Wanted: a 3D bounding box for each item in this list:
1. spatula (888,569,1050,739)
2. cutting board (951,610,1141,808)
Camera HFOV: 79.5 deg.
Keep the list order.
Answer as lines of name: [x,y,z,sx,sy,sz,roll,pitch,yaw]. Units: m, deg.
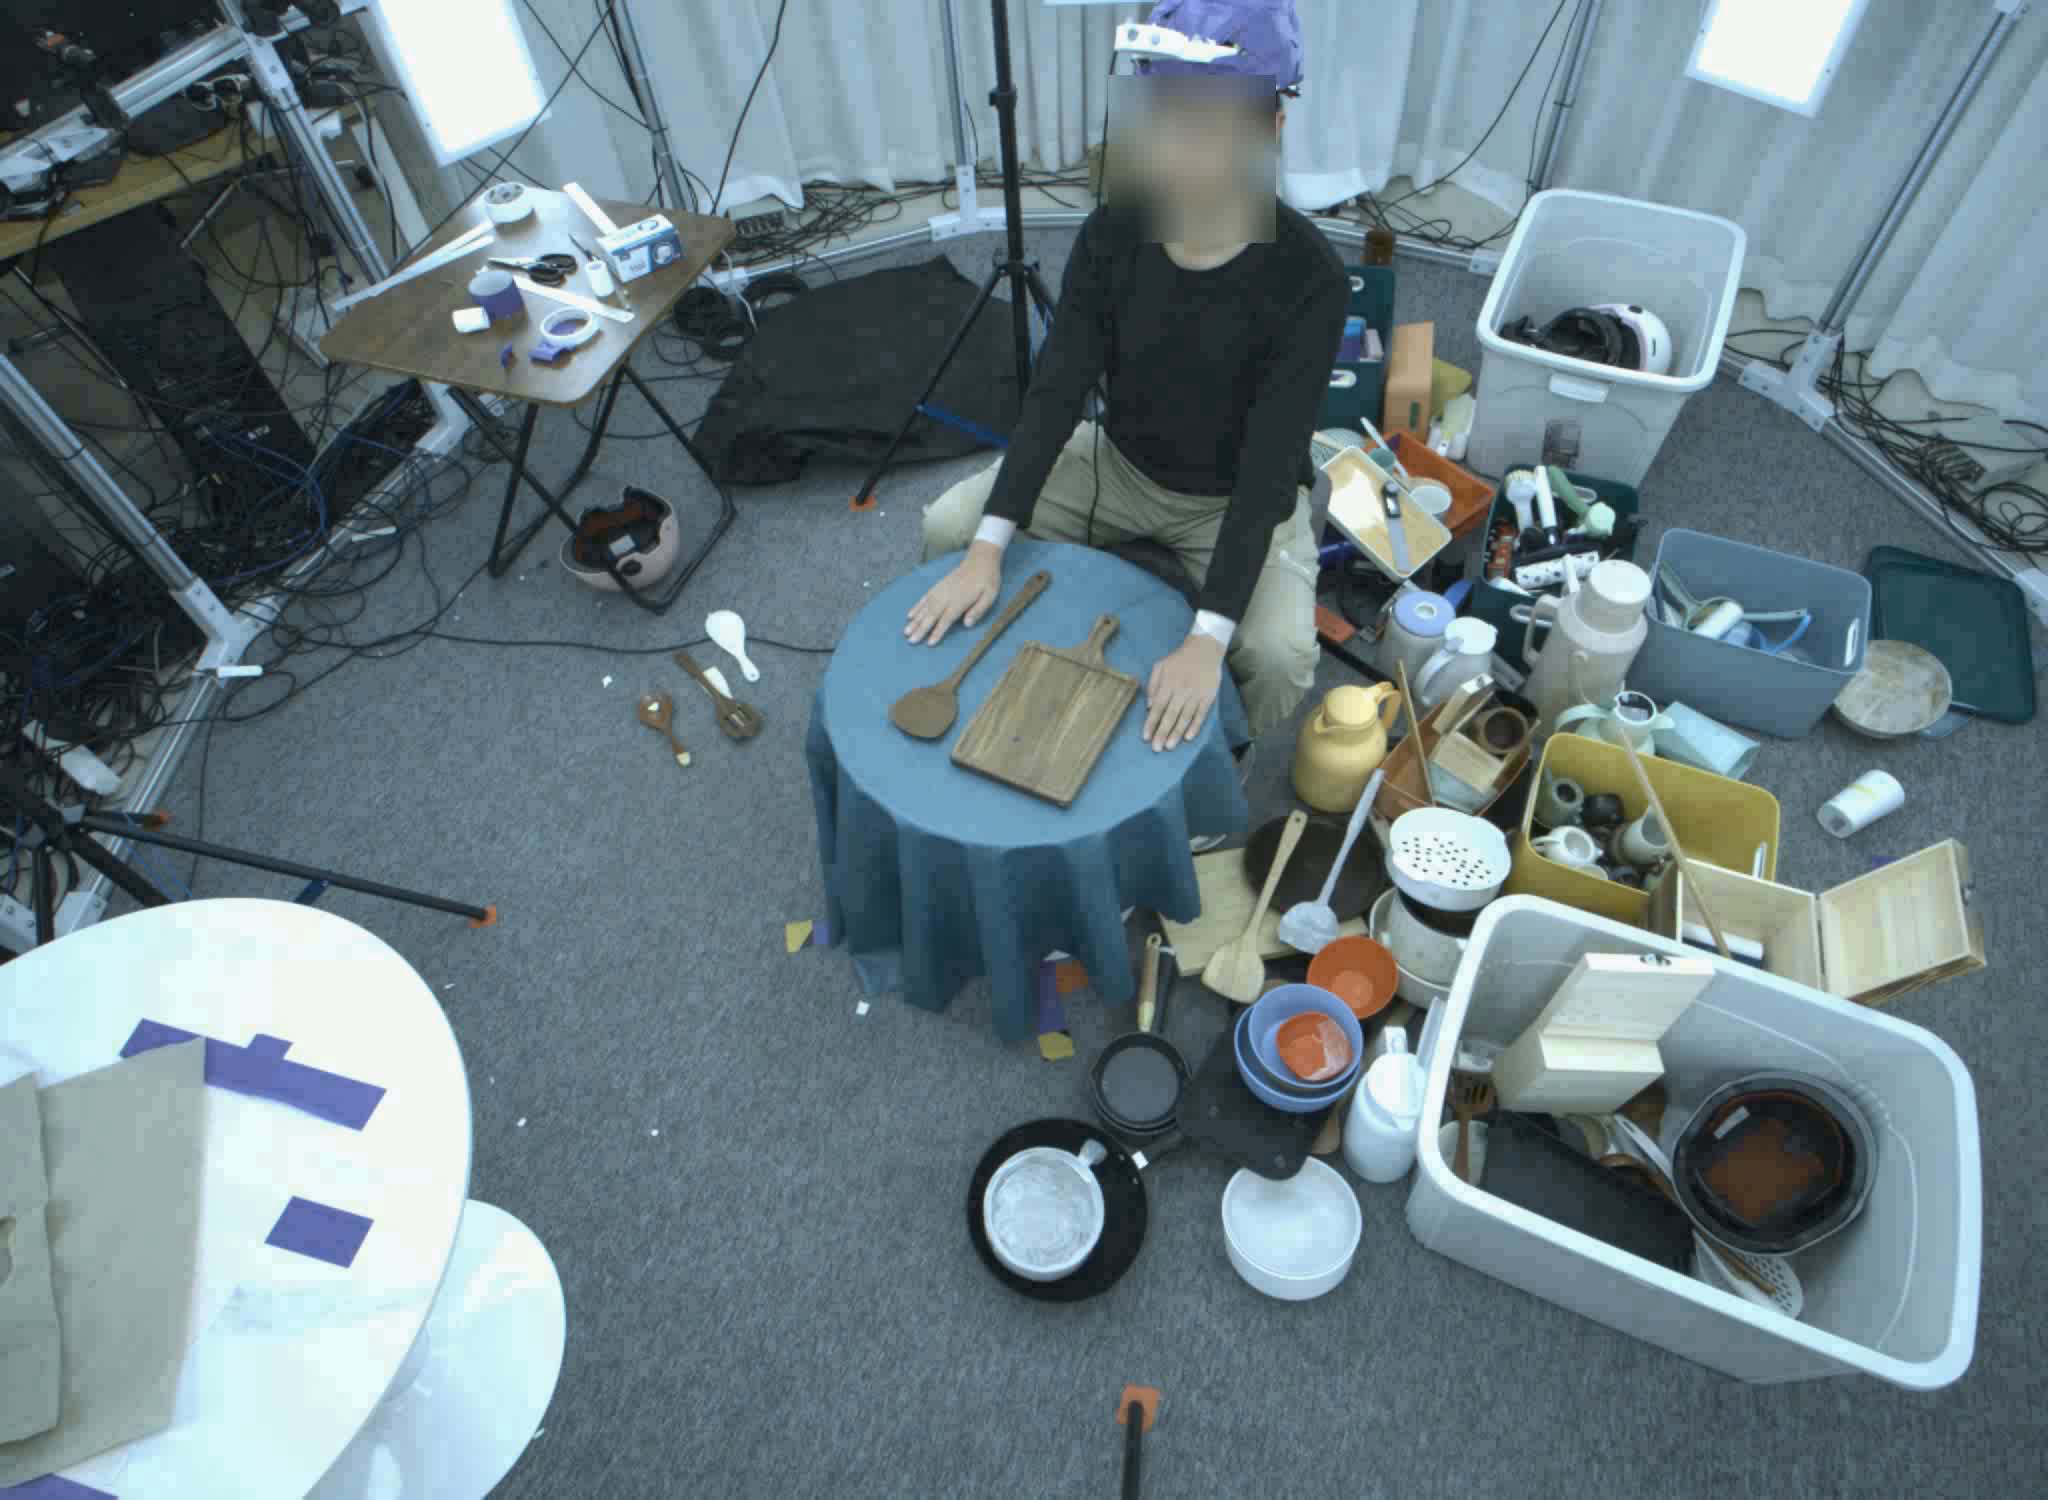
spatula: [-0.068,-0.160,1.894,0.095,0.016,0.387,27,60,19]
cutting board: [0.057,-0.081,1.830,0.198,0.023,0.352,22,58,16]
